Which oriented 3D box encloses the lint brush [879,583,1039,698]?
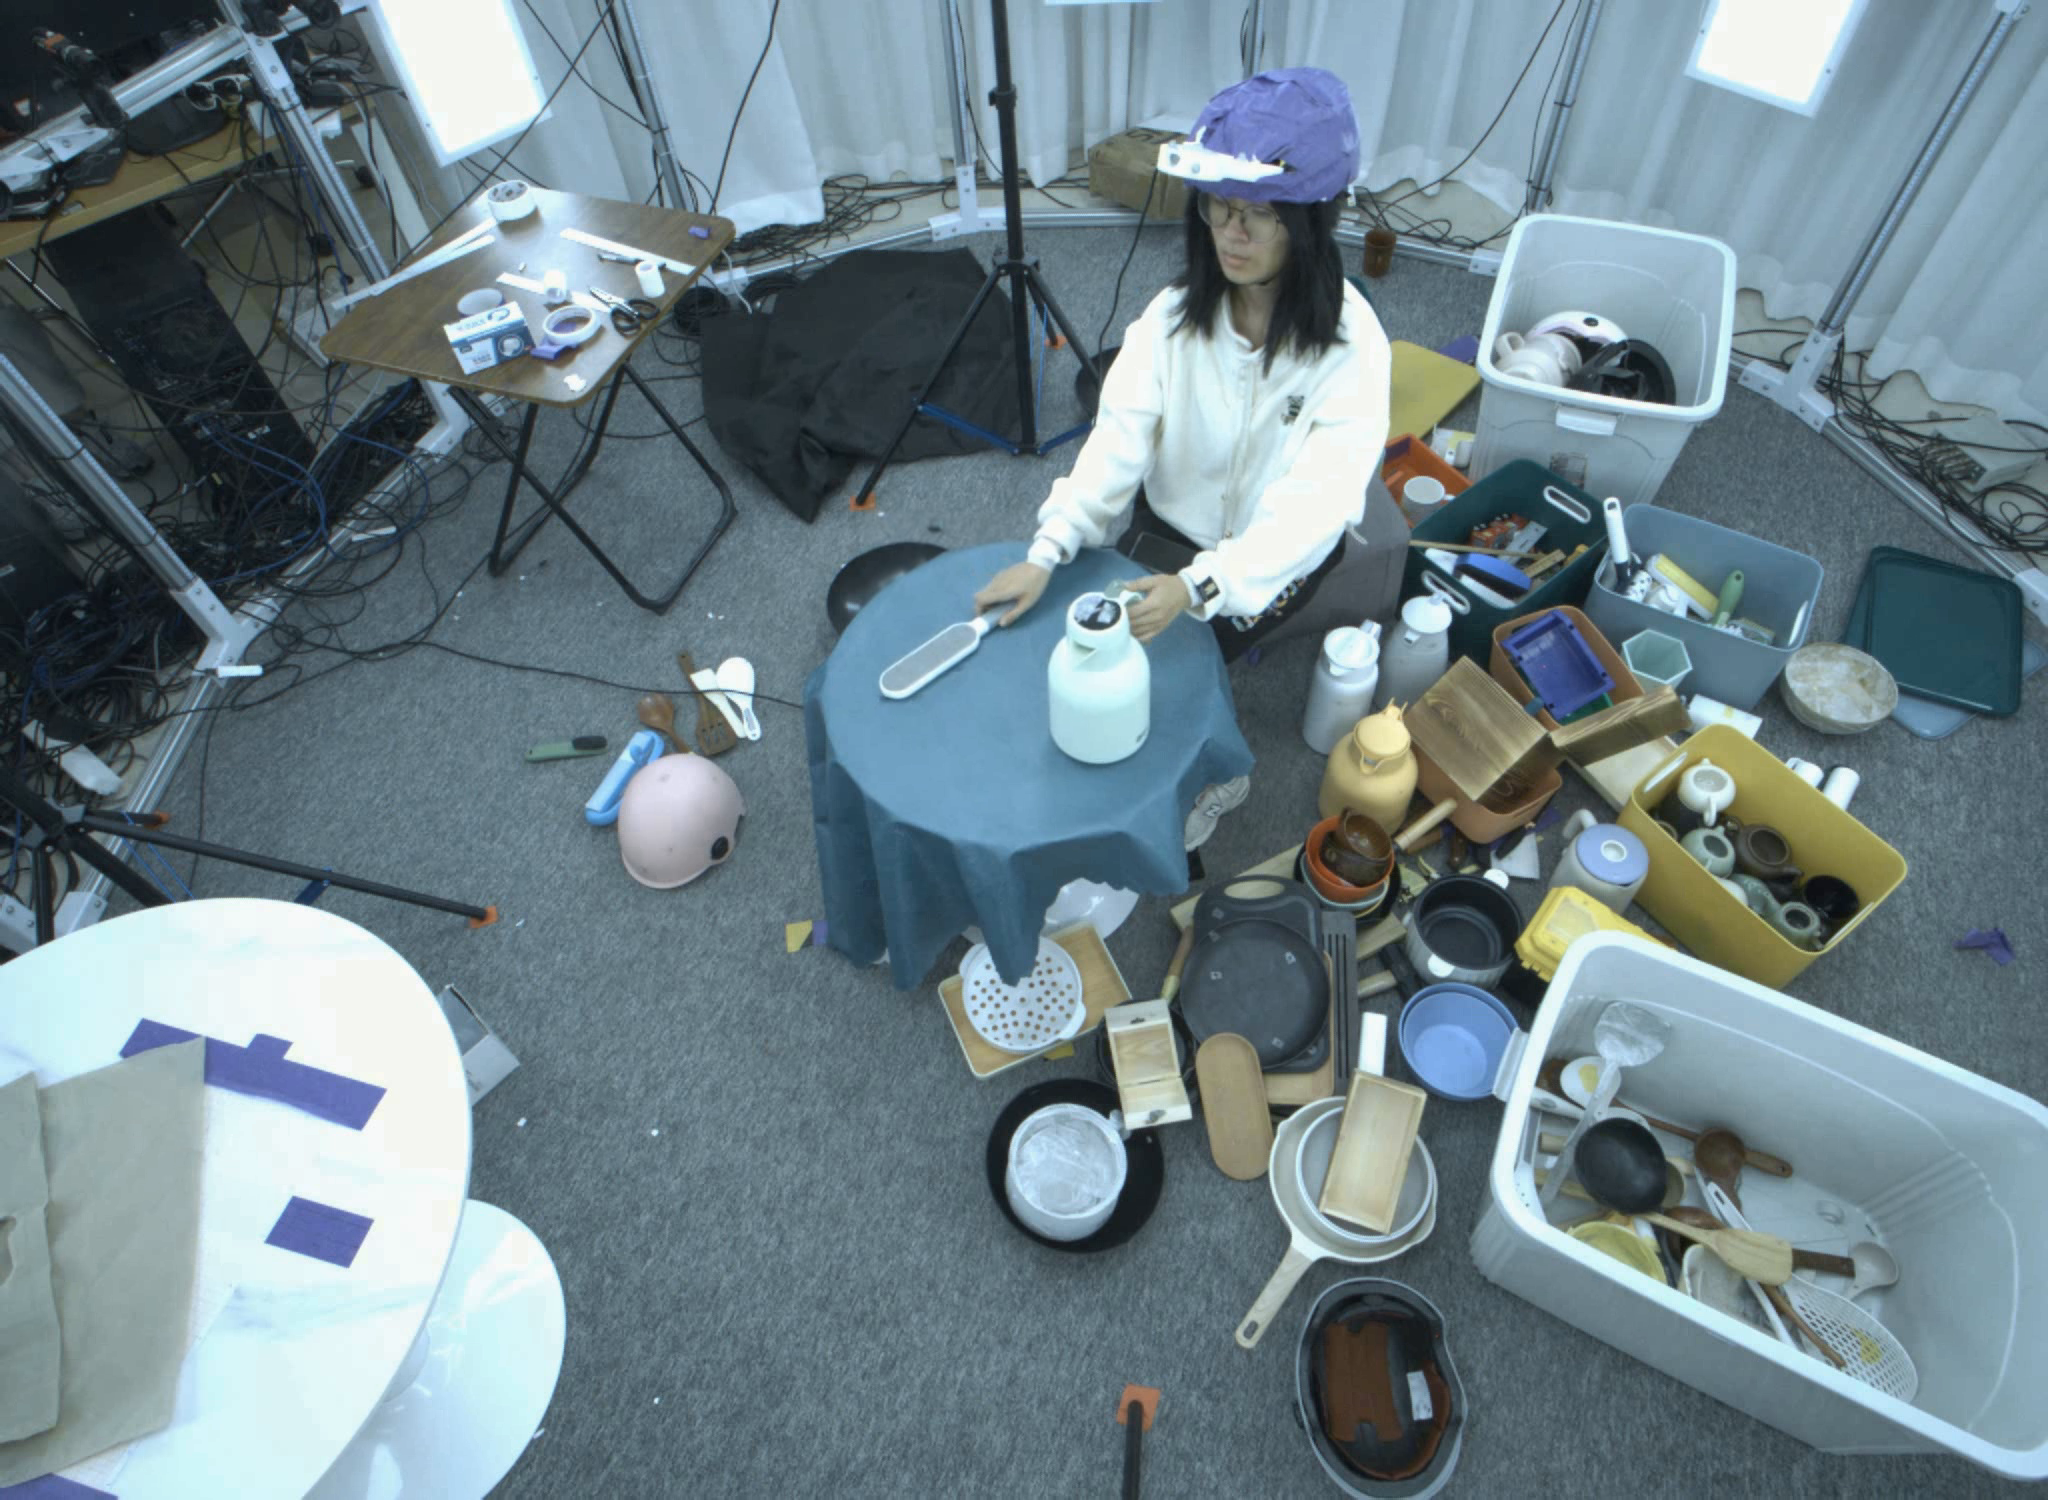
[{"bbox_3d":[-0.097,-0.173,1.898,0.311,0.021,0.059,-37,59,-21],"label":"lint brush"}]

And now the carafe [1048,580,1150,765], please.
[{"bbox_3d":[0.111,-0.114,1.711,0.142,0.259,0.187,22,55,20],"label":"carafe"}]
